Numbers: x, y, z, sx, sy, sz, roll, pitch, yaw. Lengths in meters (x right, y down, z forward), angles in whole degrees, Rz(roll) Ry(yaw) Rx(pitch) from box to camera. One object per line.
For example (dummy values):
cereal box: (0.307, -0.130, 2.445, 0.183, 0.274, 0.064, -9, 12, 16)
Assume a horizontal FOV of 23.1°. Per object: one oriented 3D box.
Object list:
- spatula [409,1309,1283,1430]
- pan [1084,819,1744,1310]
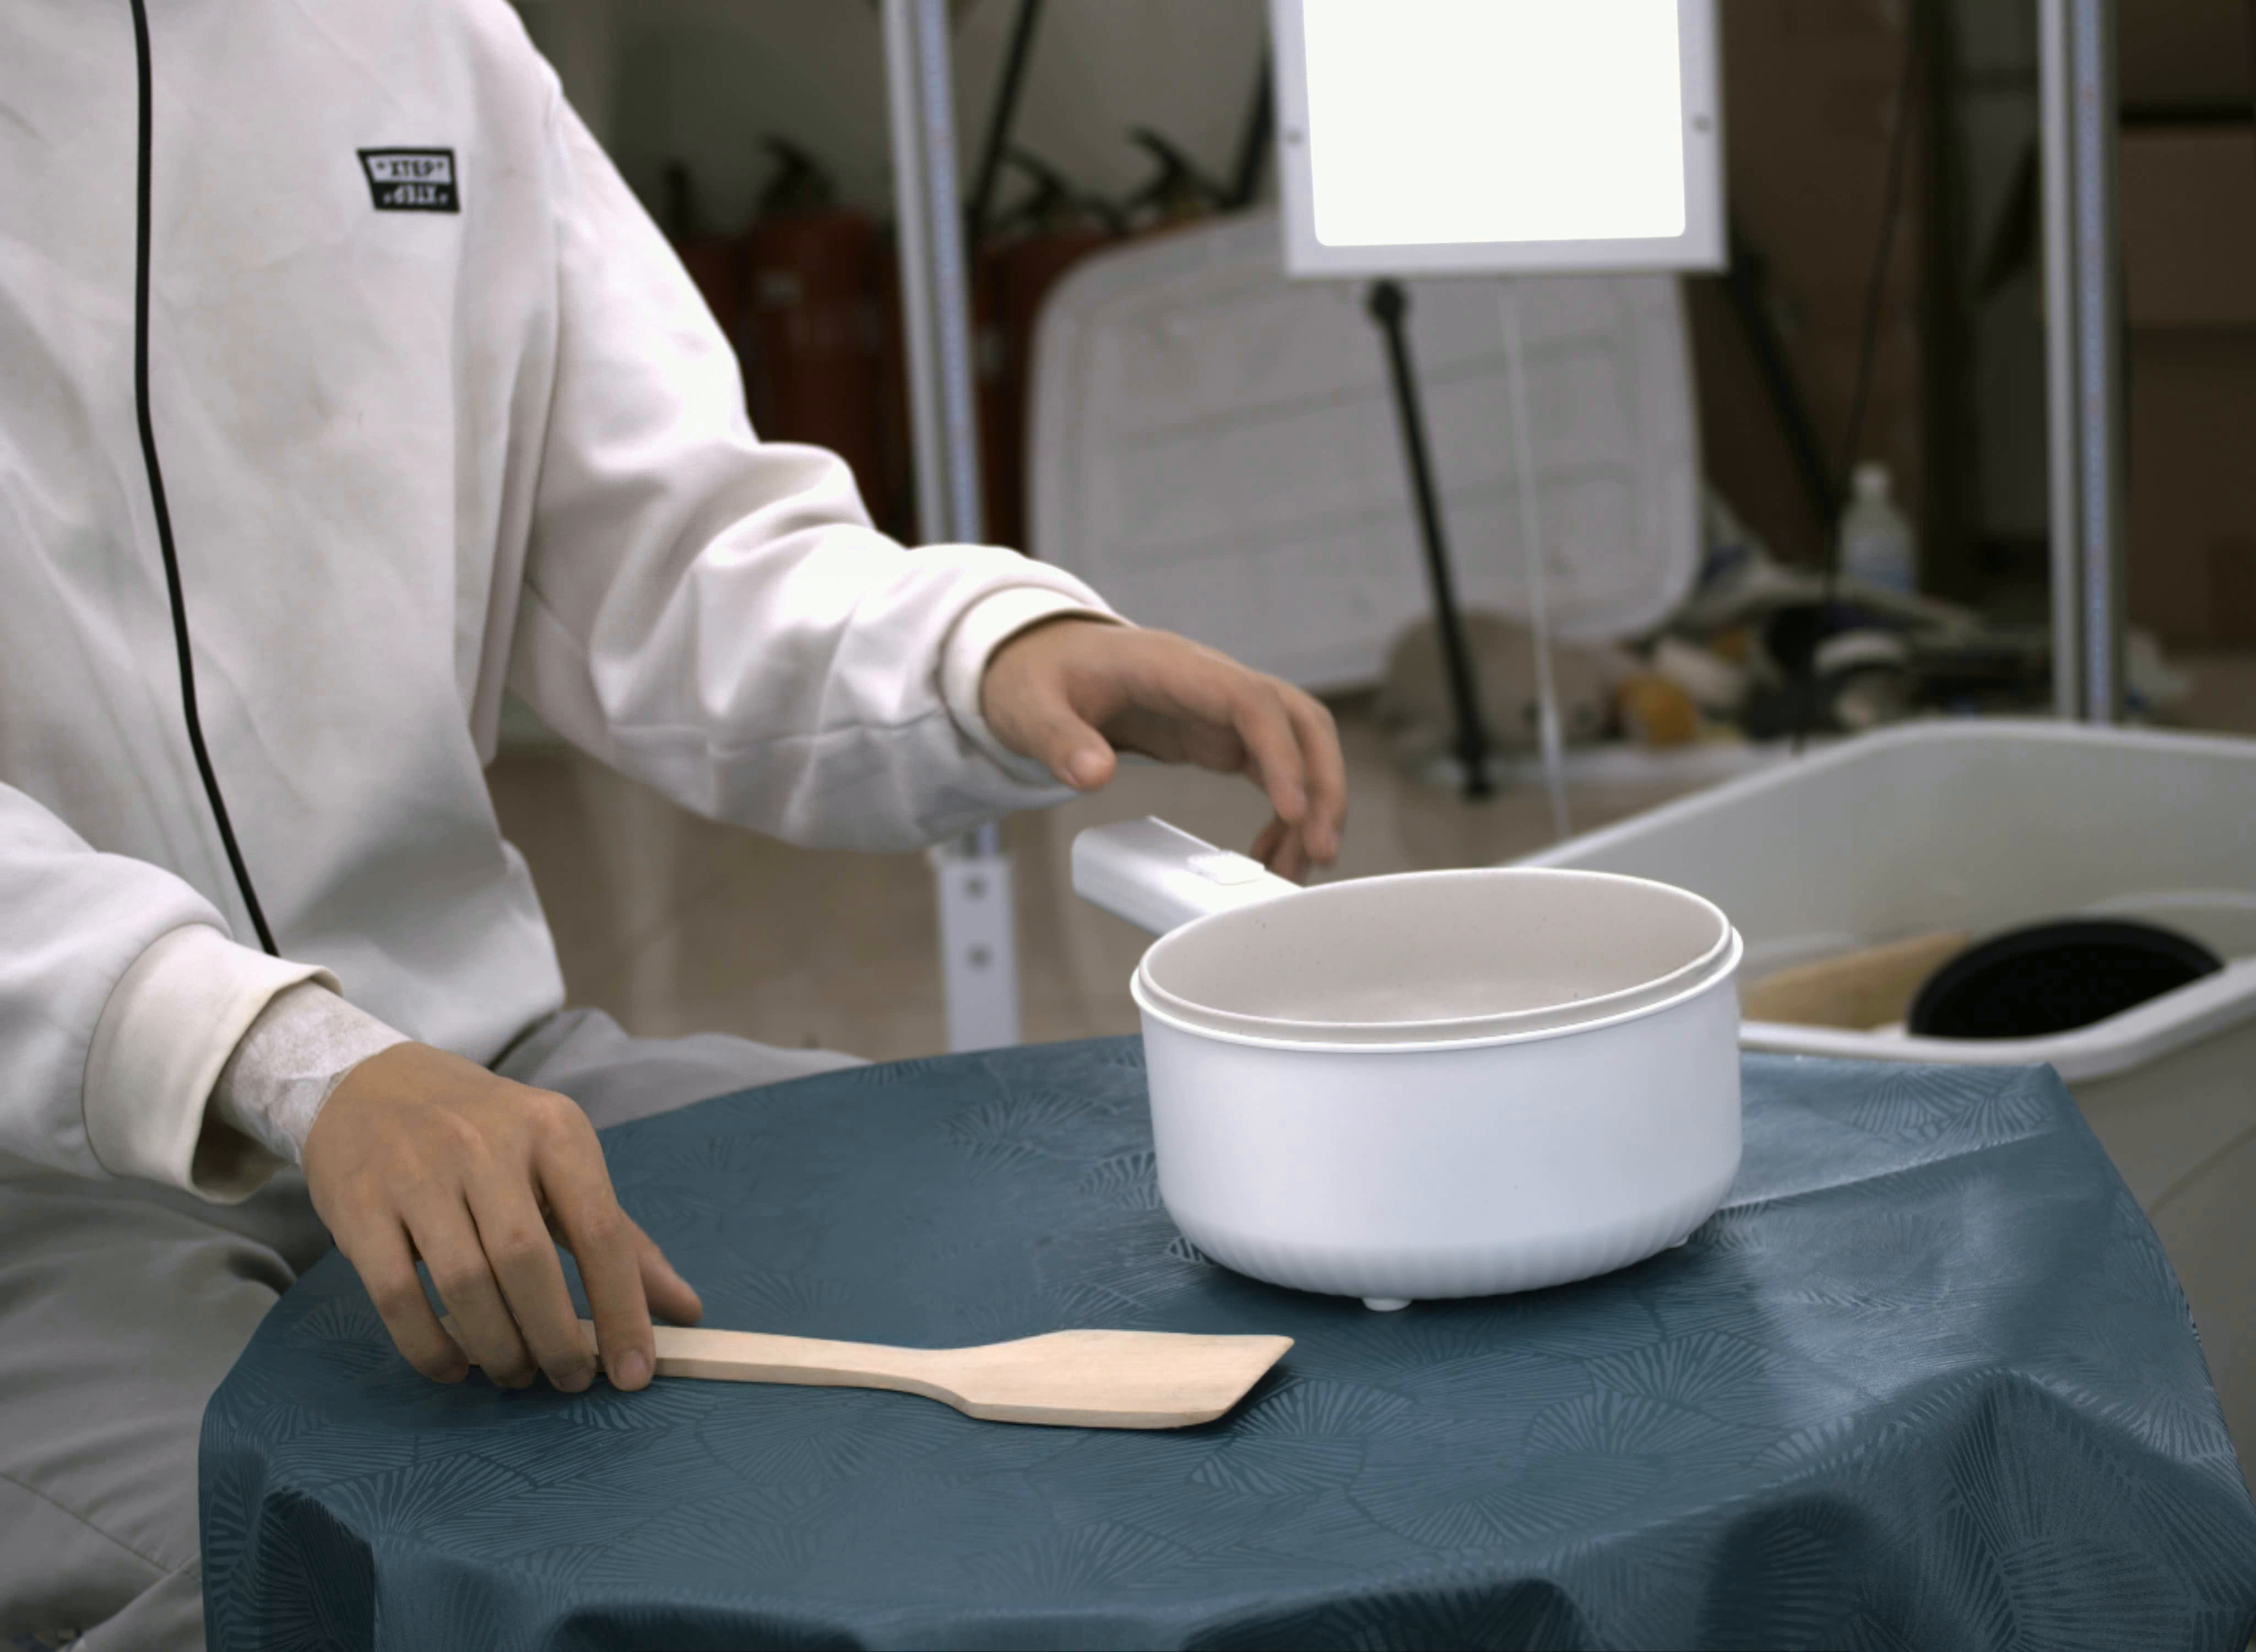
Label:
spatula: (-0.097, 0.169, 1.742, 0.297, 0.011, 0.071, 1, 16, 24)
pan: (0.074, 0.074, 1.880, 0.197, 0.102, 0.360, -11, 14, -22)
